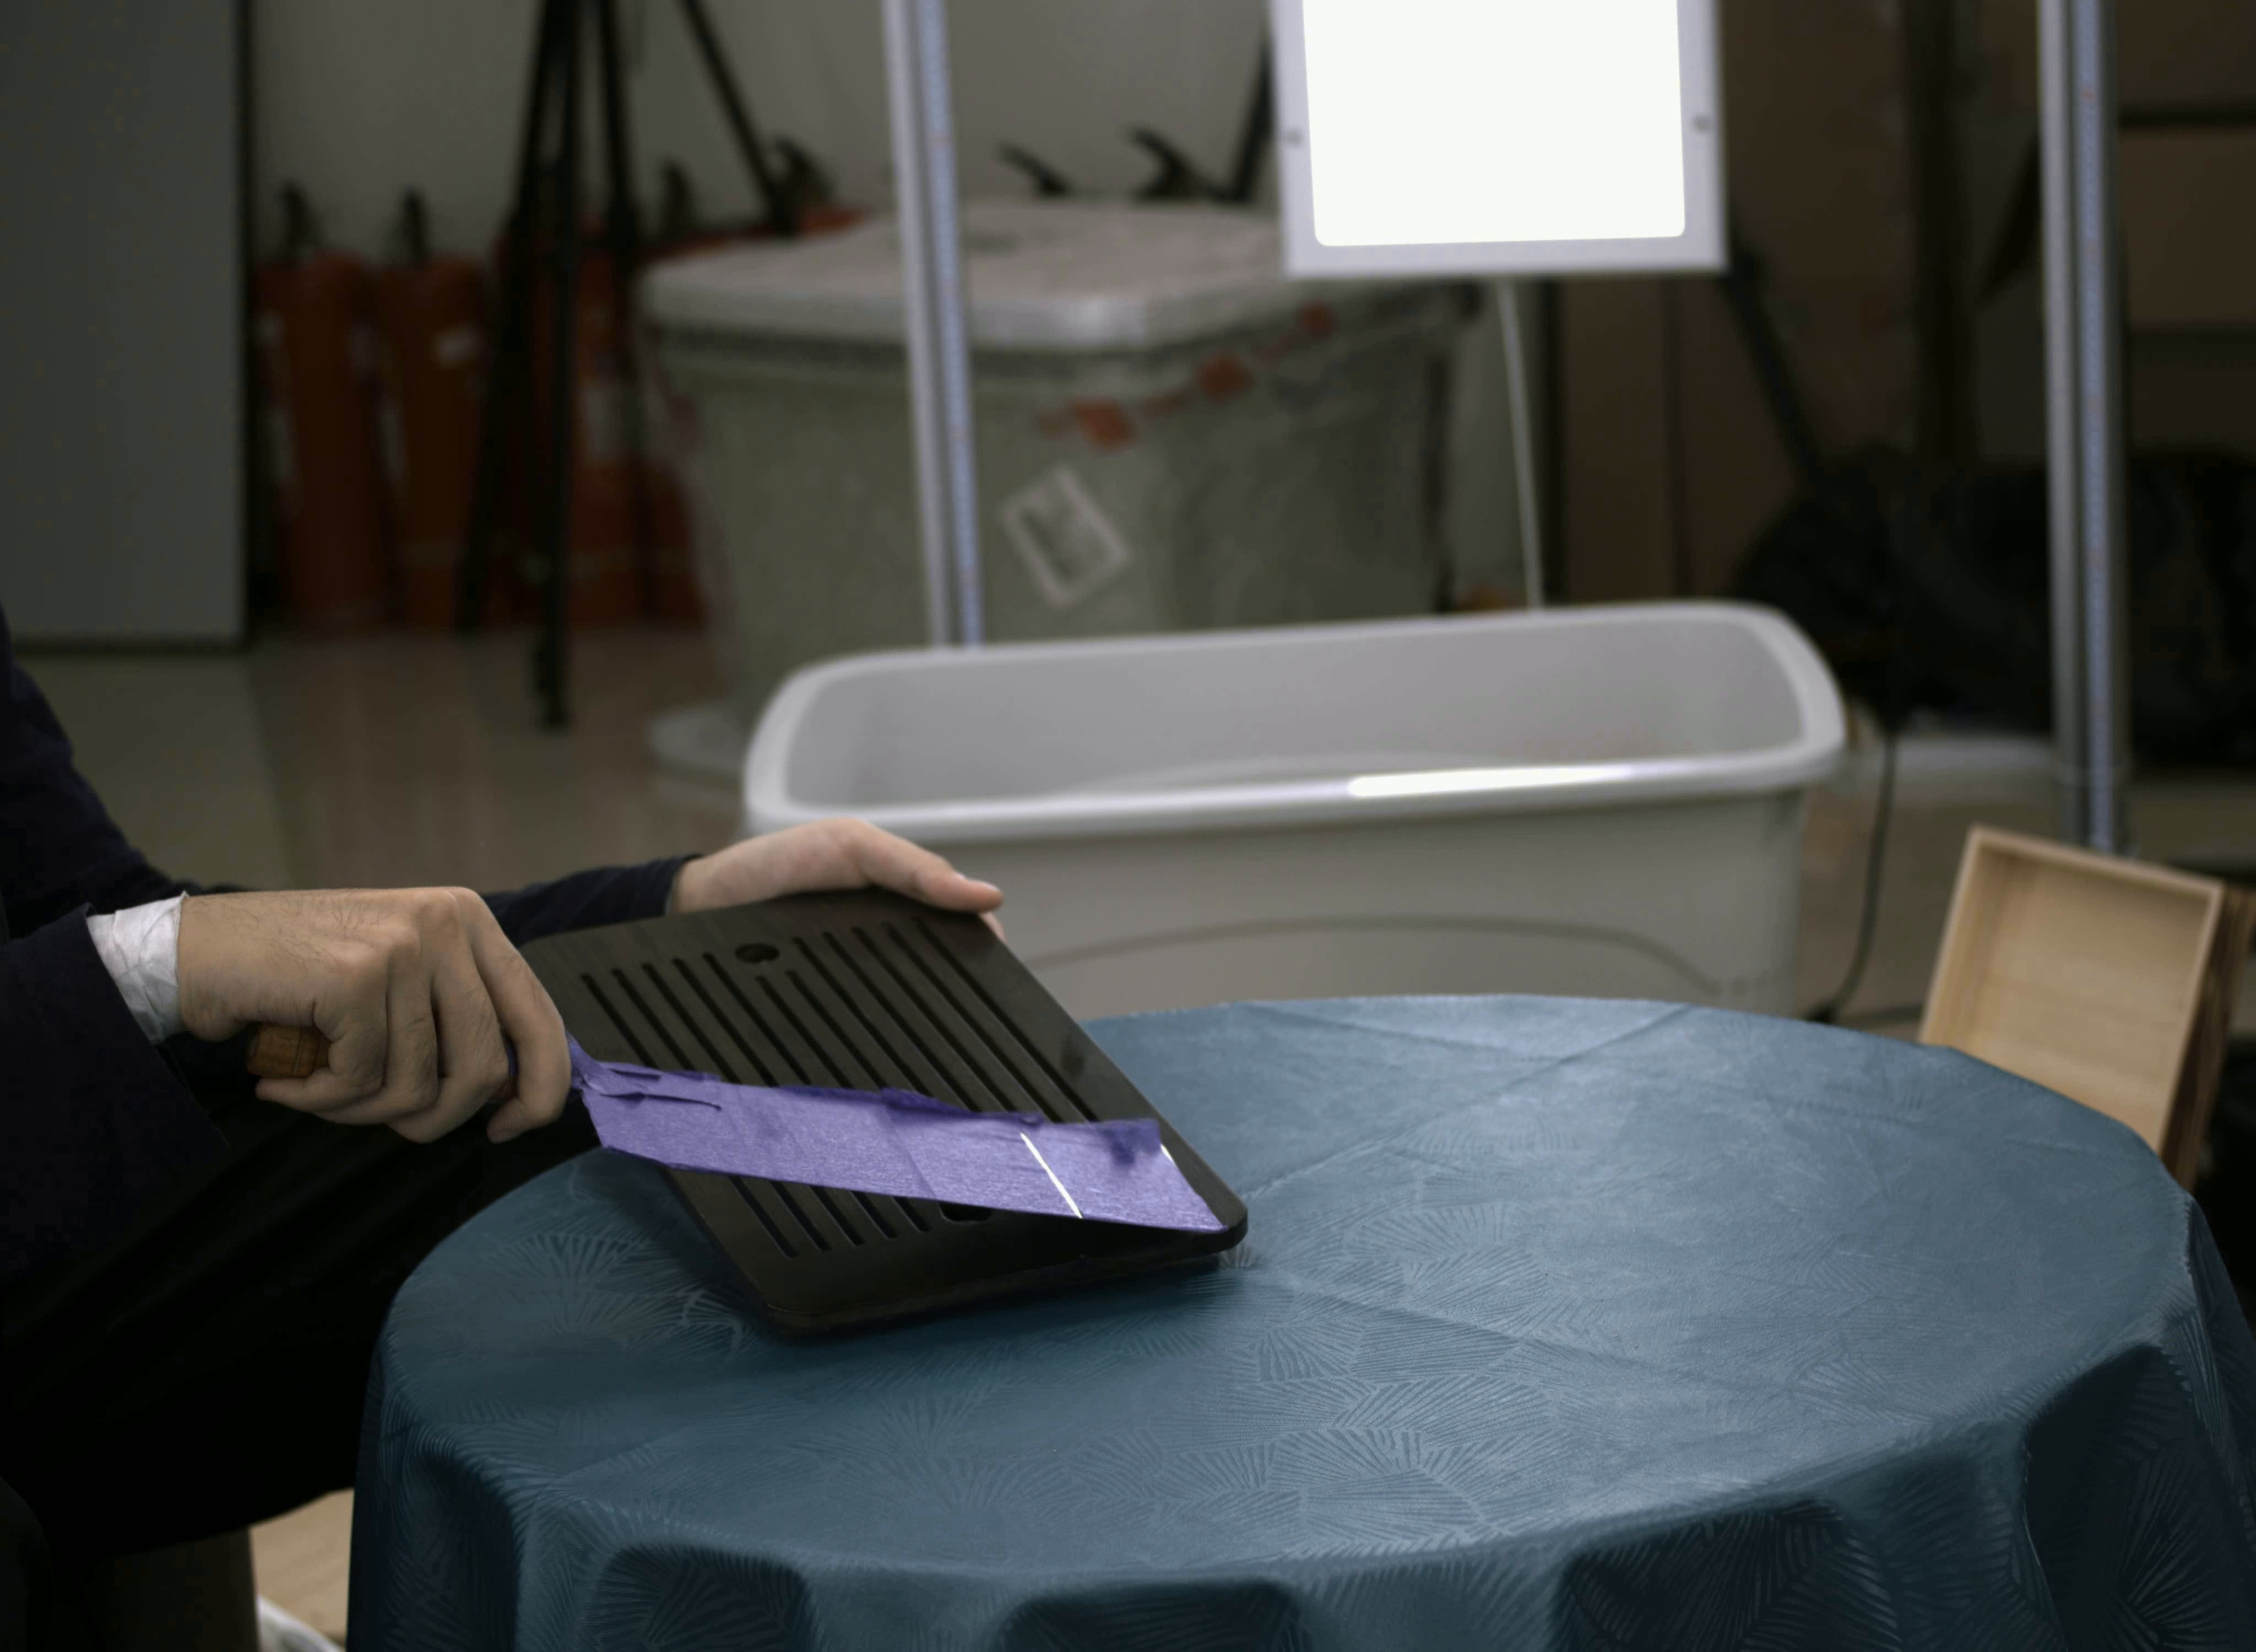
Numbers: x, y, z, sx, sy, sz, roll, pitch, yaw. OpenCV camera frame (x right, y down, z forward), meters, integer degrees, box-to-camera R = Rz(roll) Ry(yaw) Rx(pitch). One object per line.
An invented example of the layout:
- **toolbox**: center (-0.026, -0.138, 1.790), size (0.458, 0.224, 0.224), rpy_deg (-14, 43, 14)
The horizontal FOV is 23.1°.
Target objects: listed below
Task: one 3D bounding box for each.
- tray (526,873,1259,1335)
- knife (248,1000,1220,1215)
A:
- **tray**: center (-0.088, 0.093, 1.921), size (0.167, 0.019, 0.309), rpy_deg (-11, 26, -19)
- **knife**: center (-0.124, 0.093, 1.791), size (0.310, 0.032, 0.104), rpy_deg (5, 15, -16)
